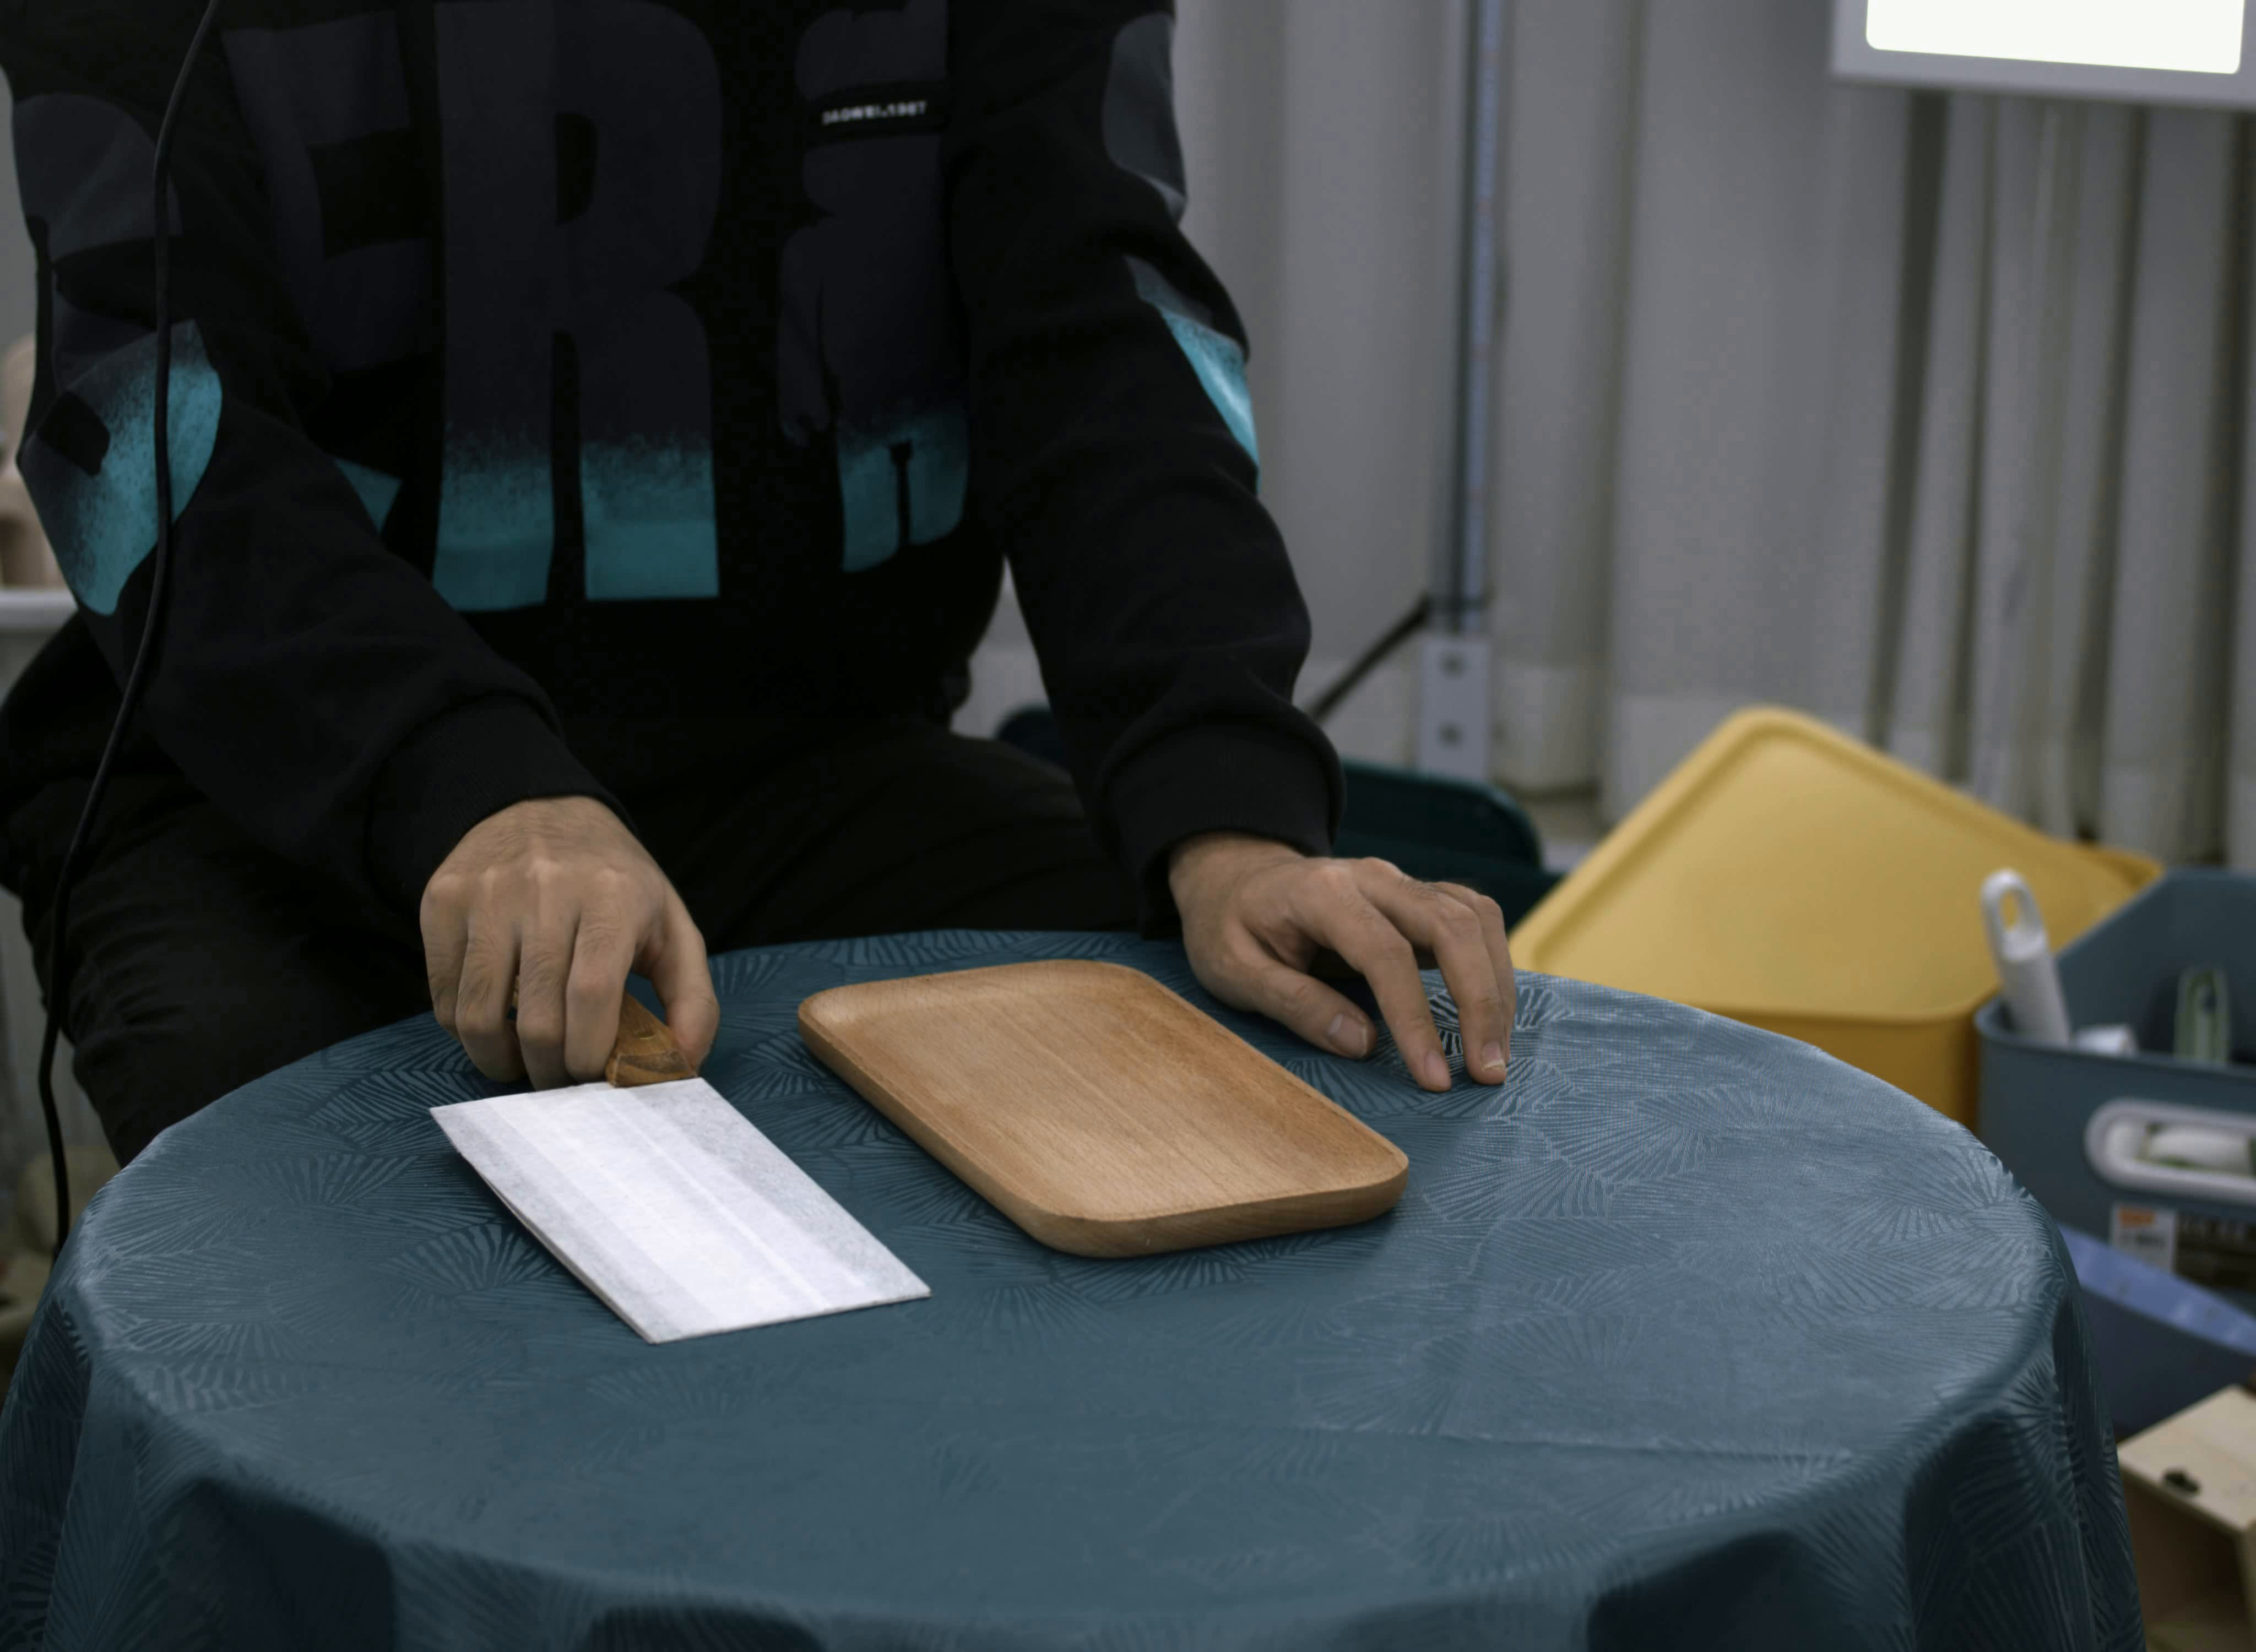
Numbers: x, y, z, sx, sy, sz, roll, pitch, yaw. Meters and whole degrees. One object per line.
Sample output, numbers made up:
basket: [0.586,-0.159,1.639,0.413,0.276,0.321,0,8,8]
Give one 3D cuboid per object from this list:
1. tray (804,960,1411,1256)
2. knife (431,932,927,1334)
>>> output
tray: [-0.011,0.087,1.683,0.131,0.023,0.248,-4,15,-22]
knife: [-0.162,0.094,1.638,0.093,0.021,0.302,-8,22,-26]
